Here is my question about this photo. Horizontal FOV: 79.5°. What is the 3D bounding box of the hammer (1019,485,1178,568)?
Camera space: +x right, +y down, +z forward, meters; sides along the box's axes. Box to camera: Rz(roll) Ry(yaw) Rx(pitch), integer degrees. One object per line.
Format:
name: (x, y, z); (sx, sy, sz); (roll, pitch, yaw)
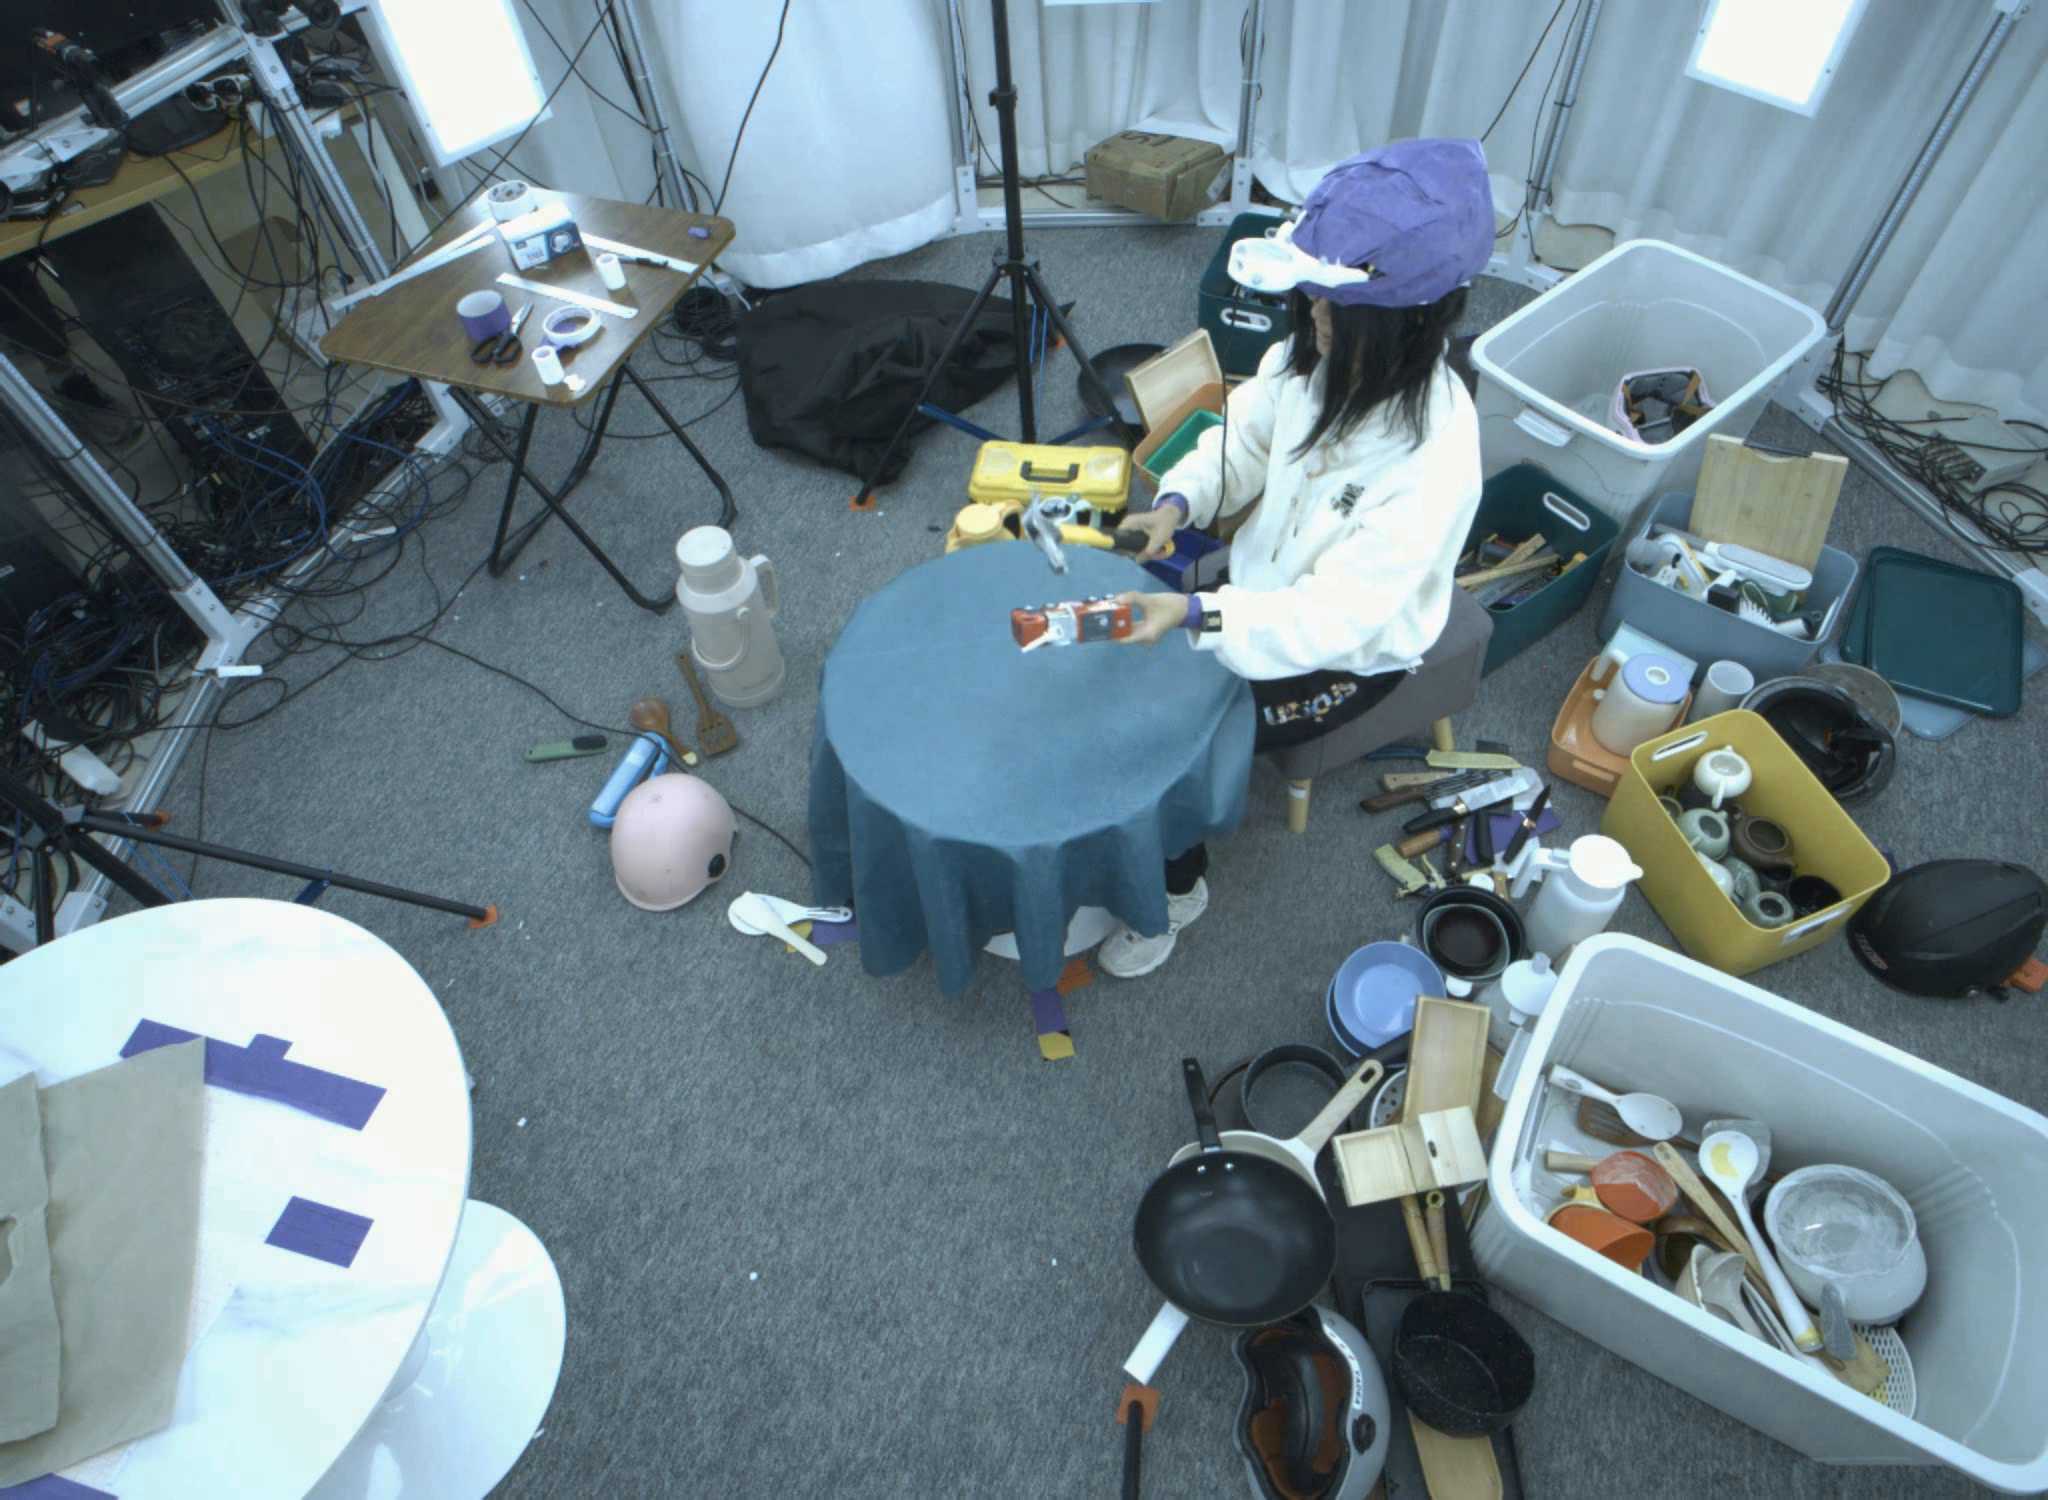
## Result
hammer: (0.117, -0.314, 1.763); (0.345, 0.032, 0.130); (-7, 59, -51)

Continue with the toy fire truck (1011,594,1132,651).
toy fire truck: (0.065, -0.171, 1.667); (0.169, 0.054, 0.069); (-10, 34, -14)
